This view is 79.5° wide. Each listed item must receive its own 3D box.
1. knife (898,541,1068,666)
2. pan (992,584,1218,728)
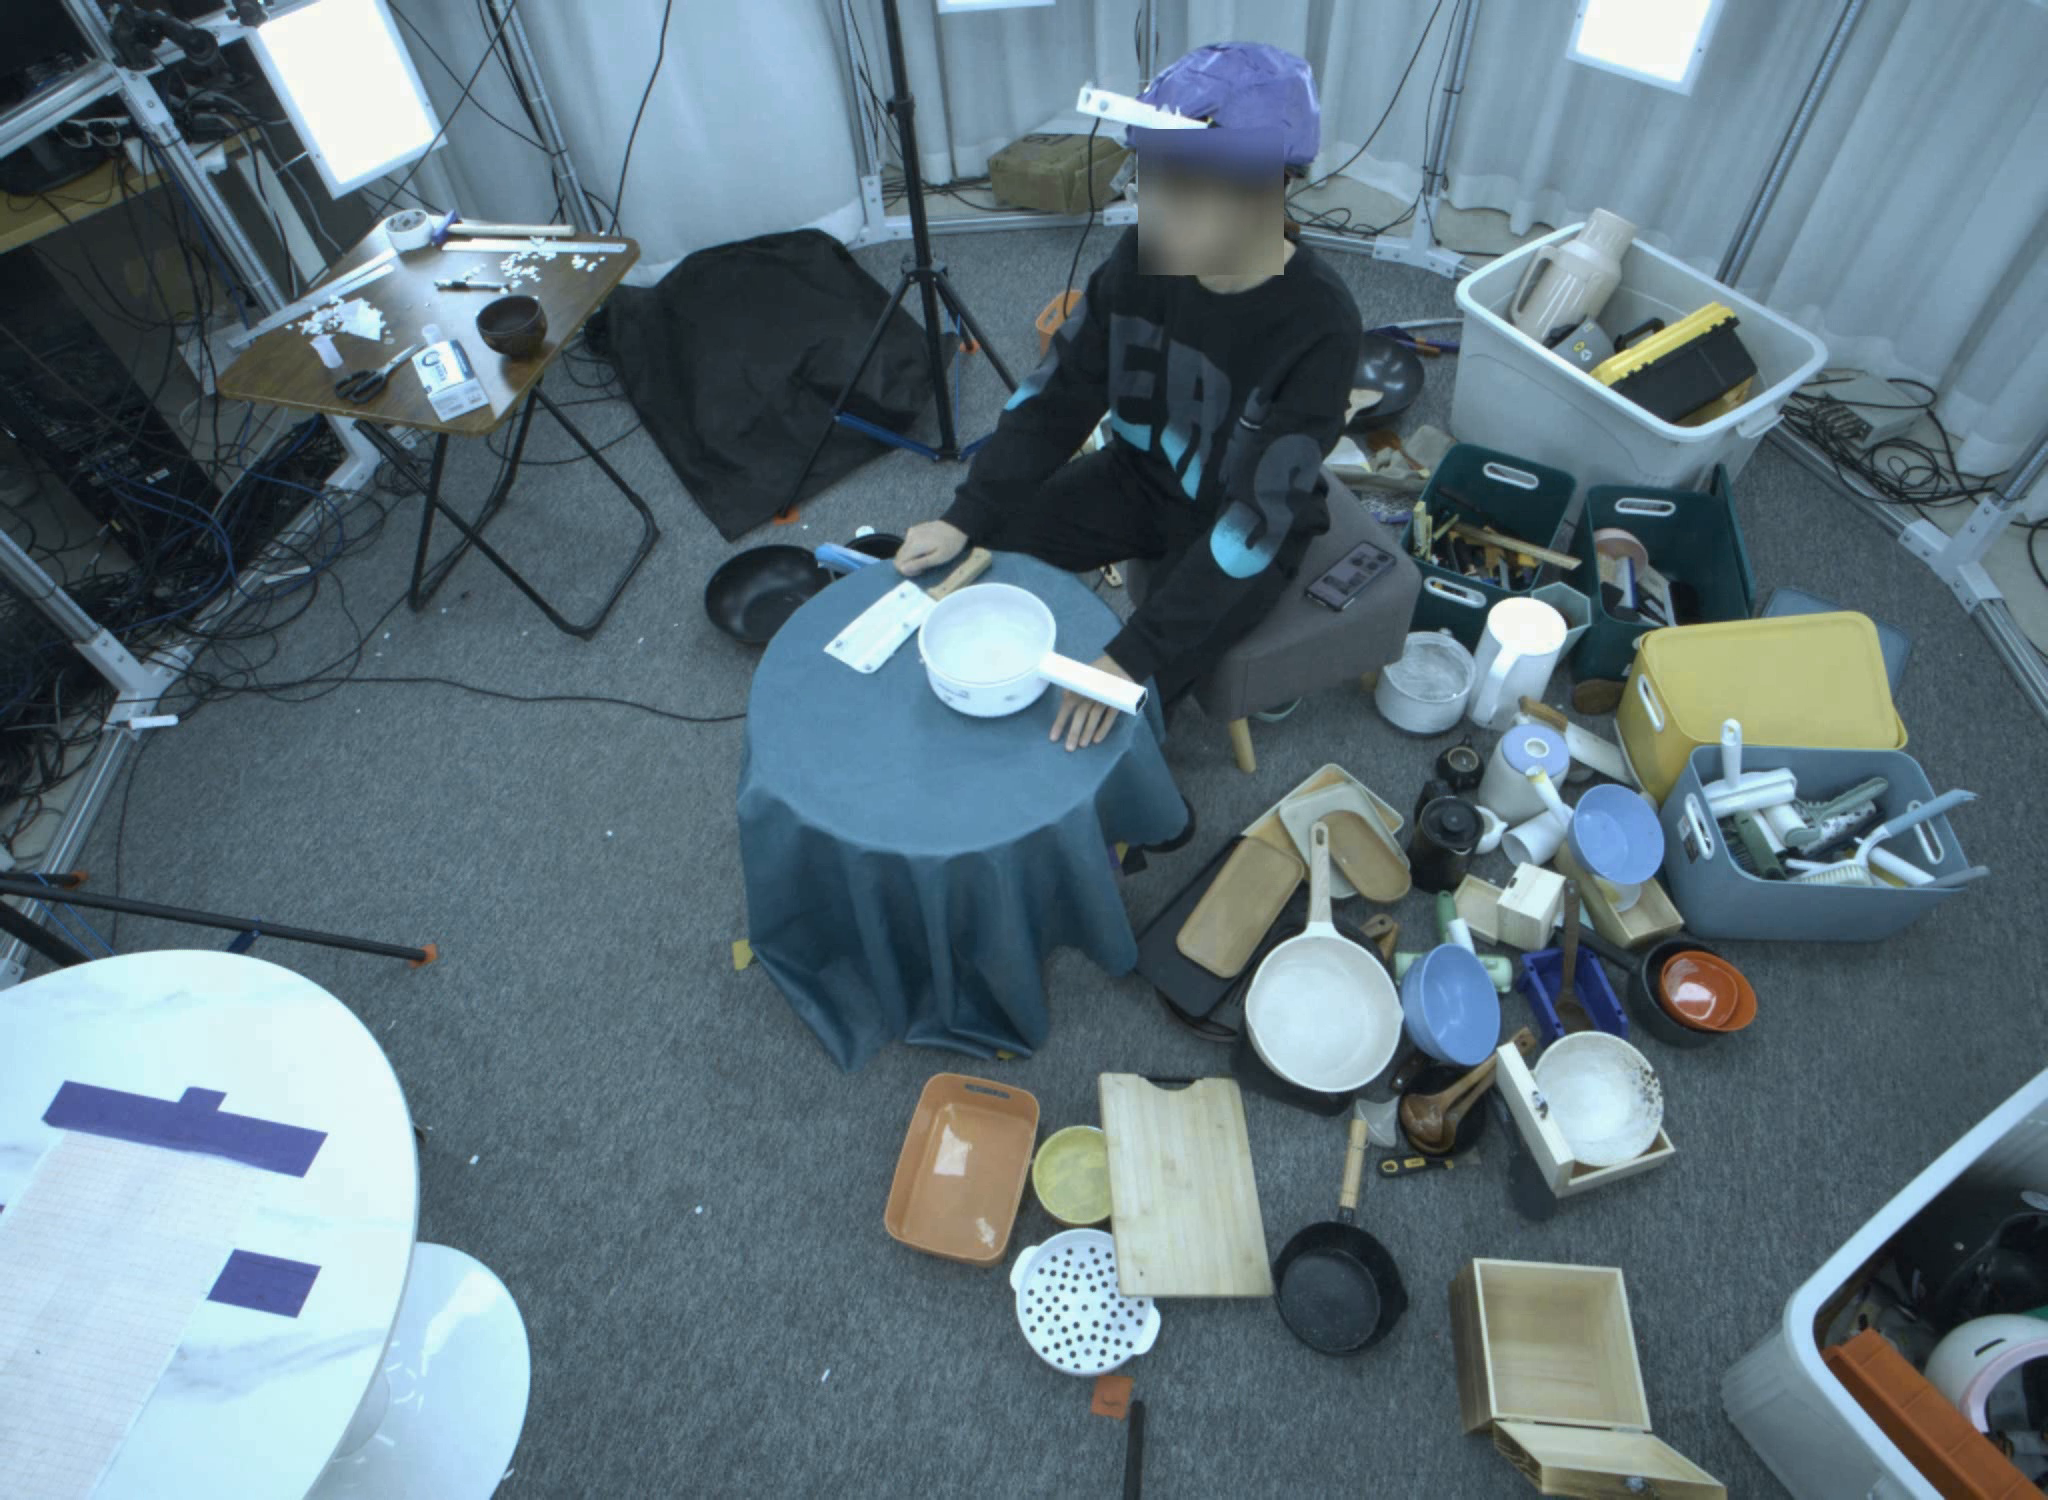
[{"bbox_3d":[-0.055,-0.238,1.946,0.317,0.022,0.112,-38,61,-19],"label":"knife"},{"bbox_3d":[0.119,-0.108,1.800,0.349,0.103,0.202,28,59,20],"label":"pan"}]
